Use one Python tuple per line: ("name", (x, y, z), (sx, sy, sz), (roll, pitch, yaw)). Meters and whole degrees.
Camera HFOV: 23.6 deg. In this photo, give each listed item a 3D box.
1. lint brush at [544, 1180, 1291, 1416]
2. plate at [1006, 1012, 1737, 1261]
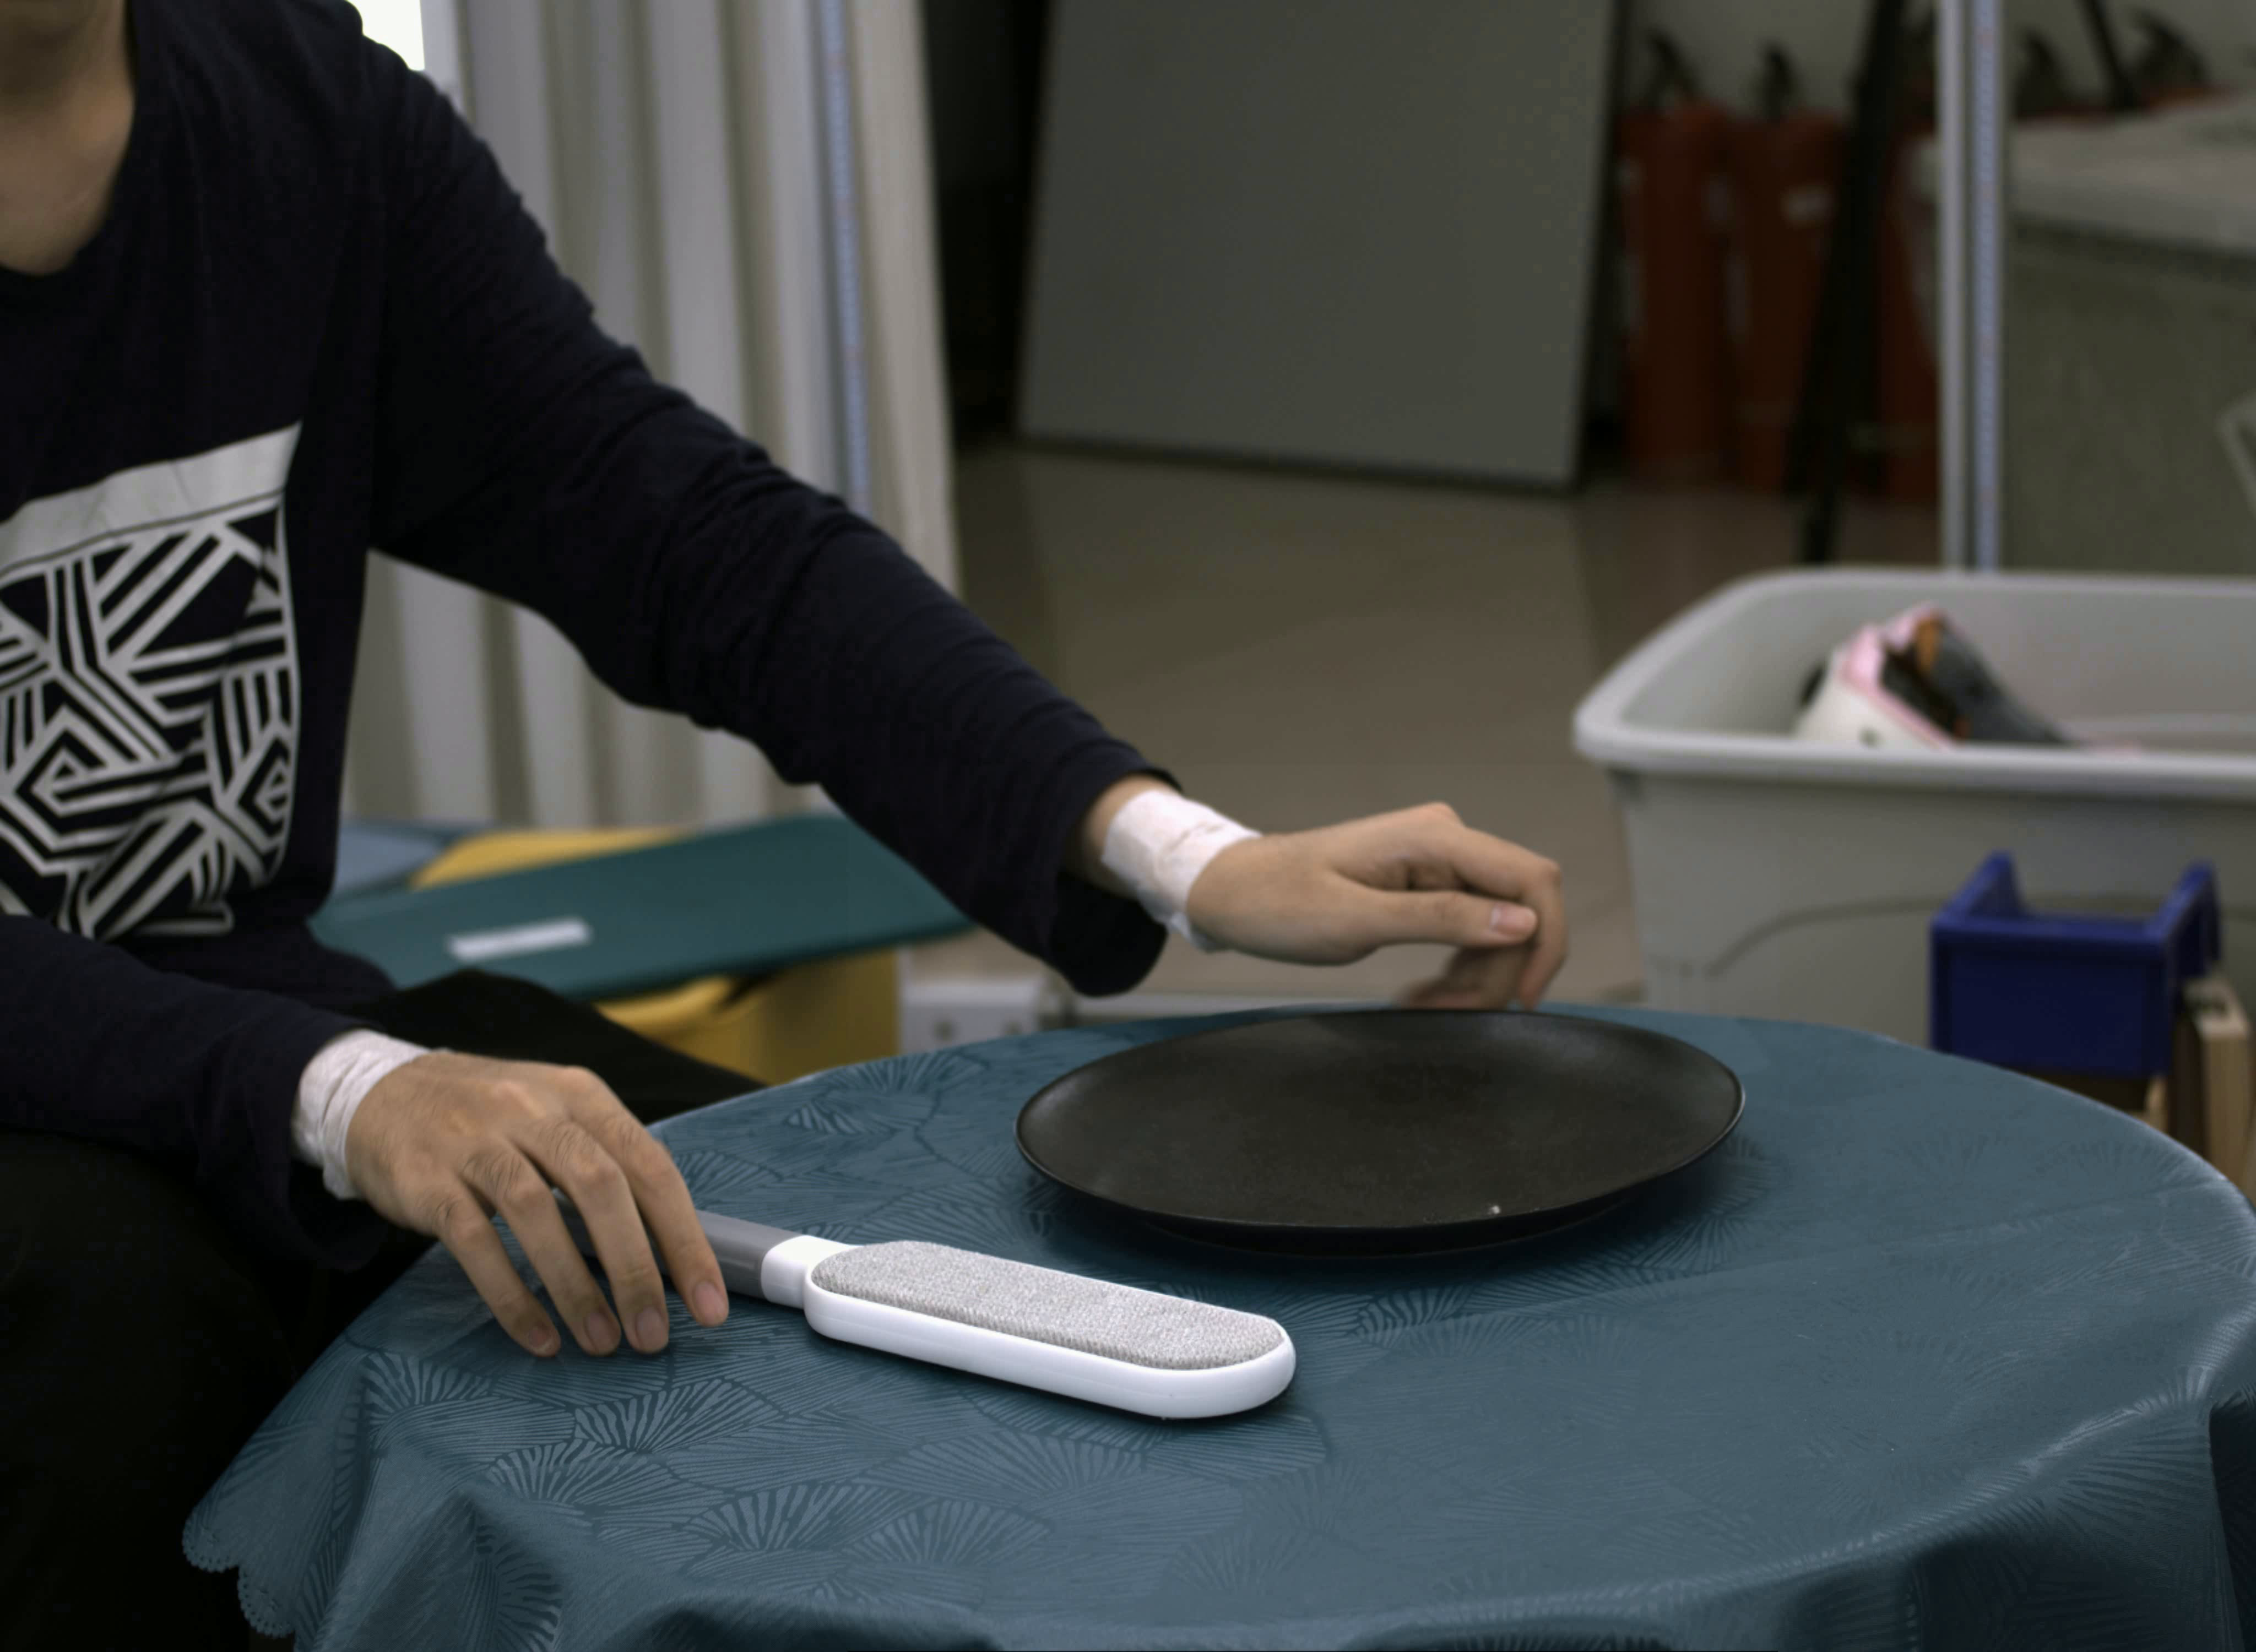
("lint brush", (-0.072, 0.141, 1.658), (0.311, 0.021, 0.059), (8, 24, 43))
("plate", (0.081, 0.104, 1.772), (0.241, 0.024, 0.245), (-4, 13, 0))
